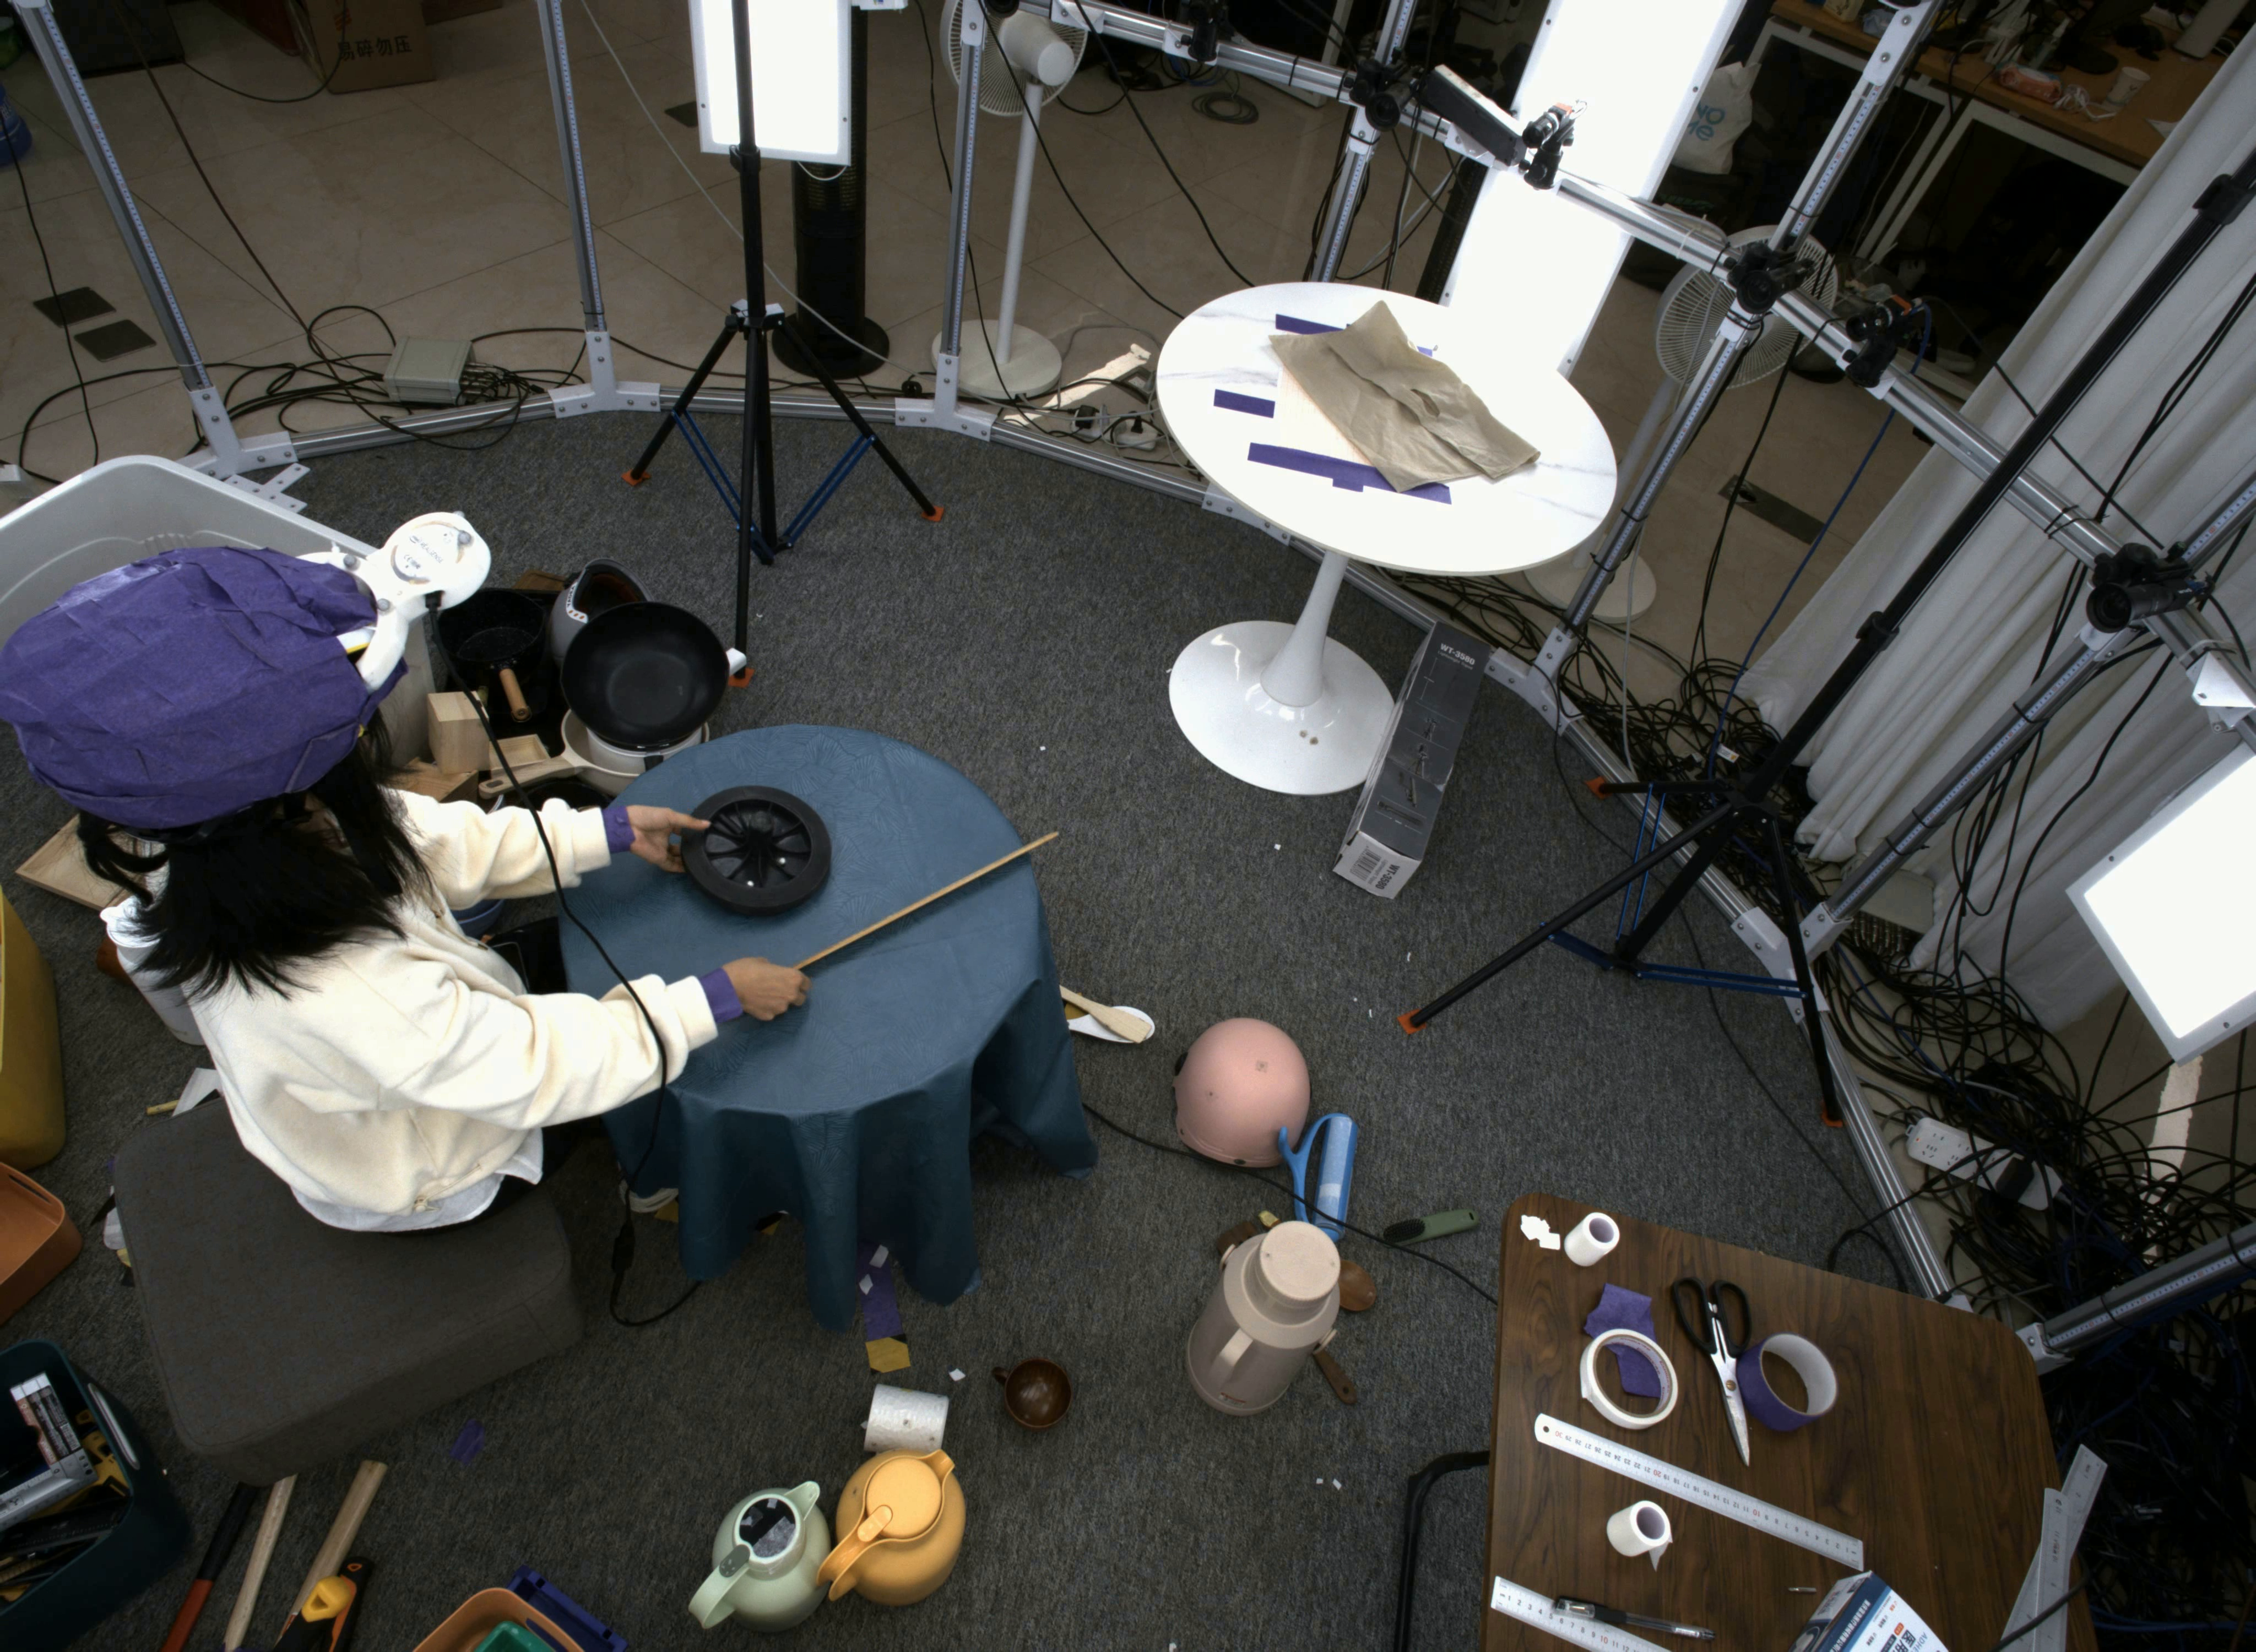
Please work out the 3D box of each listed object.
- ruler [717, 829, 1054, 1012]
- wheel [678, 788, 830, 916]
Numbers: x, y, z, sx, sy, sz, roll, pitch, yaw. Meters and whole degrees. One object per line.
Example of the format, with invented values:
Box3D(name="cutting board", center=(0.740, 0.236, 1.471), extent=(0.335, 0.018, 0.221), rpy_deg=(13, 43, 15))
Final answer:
Box3D(name="ruler", center=(-0.294, 0.110, 1.656), extent=(0.502, 0.026, 0.006), rpy_deg=(-29, 99, -30))
Box3D(name="wheel", center=(-0.470, 0.017, 1.636), extent=(0.190, 0.080, 0.185), rpy_deg=(22, 50, -9))
